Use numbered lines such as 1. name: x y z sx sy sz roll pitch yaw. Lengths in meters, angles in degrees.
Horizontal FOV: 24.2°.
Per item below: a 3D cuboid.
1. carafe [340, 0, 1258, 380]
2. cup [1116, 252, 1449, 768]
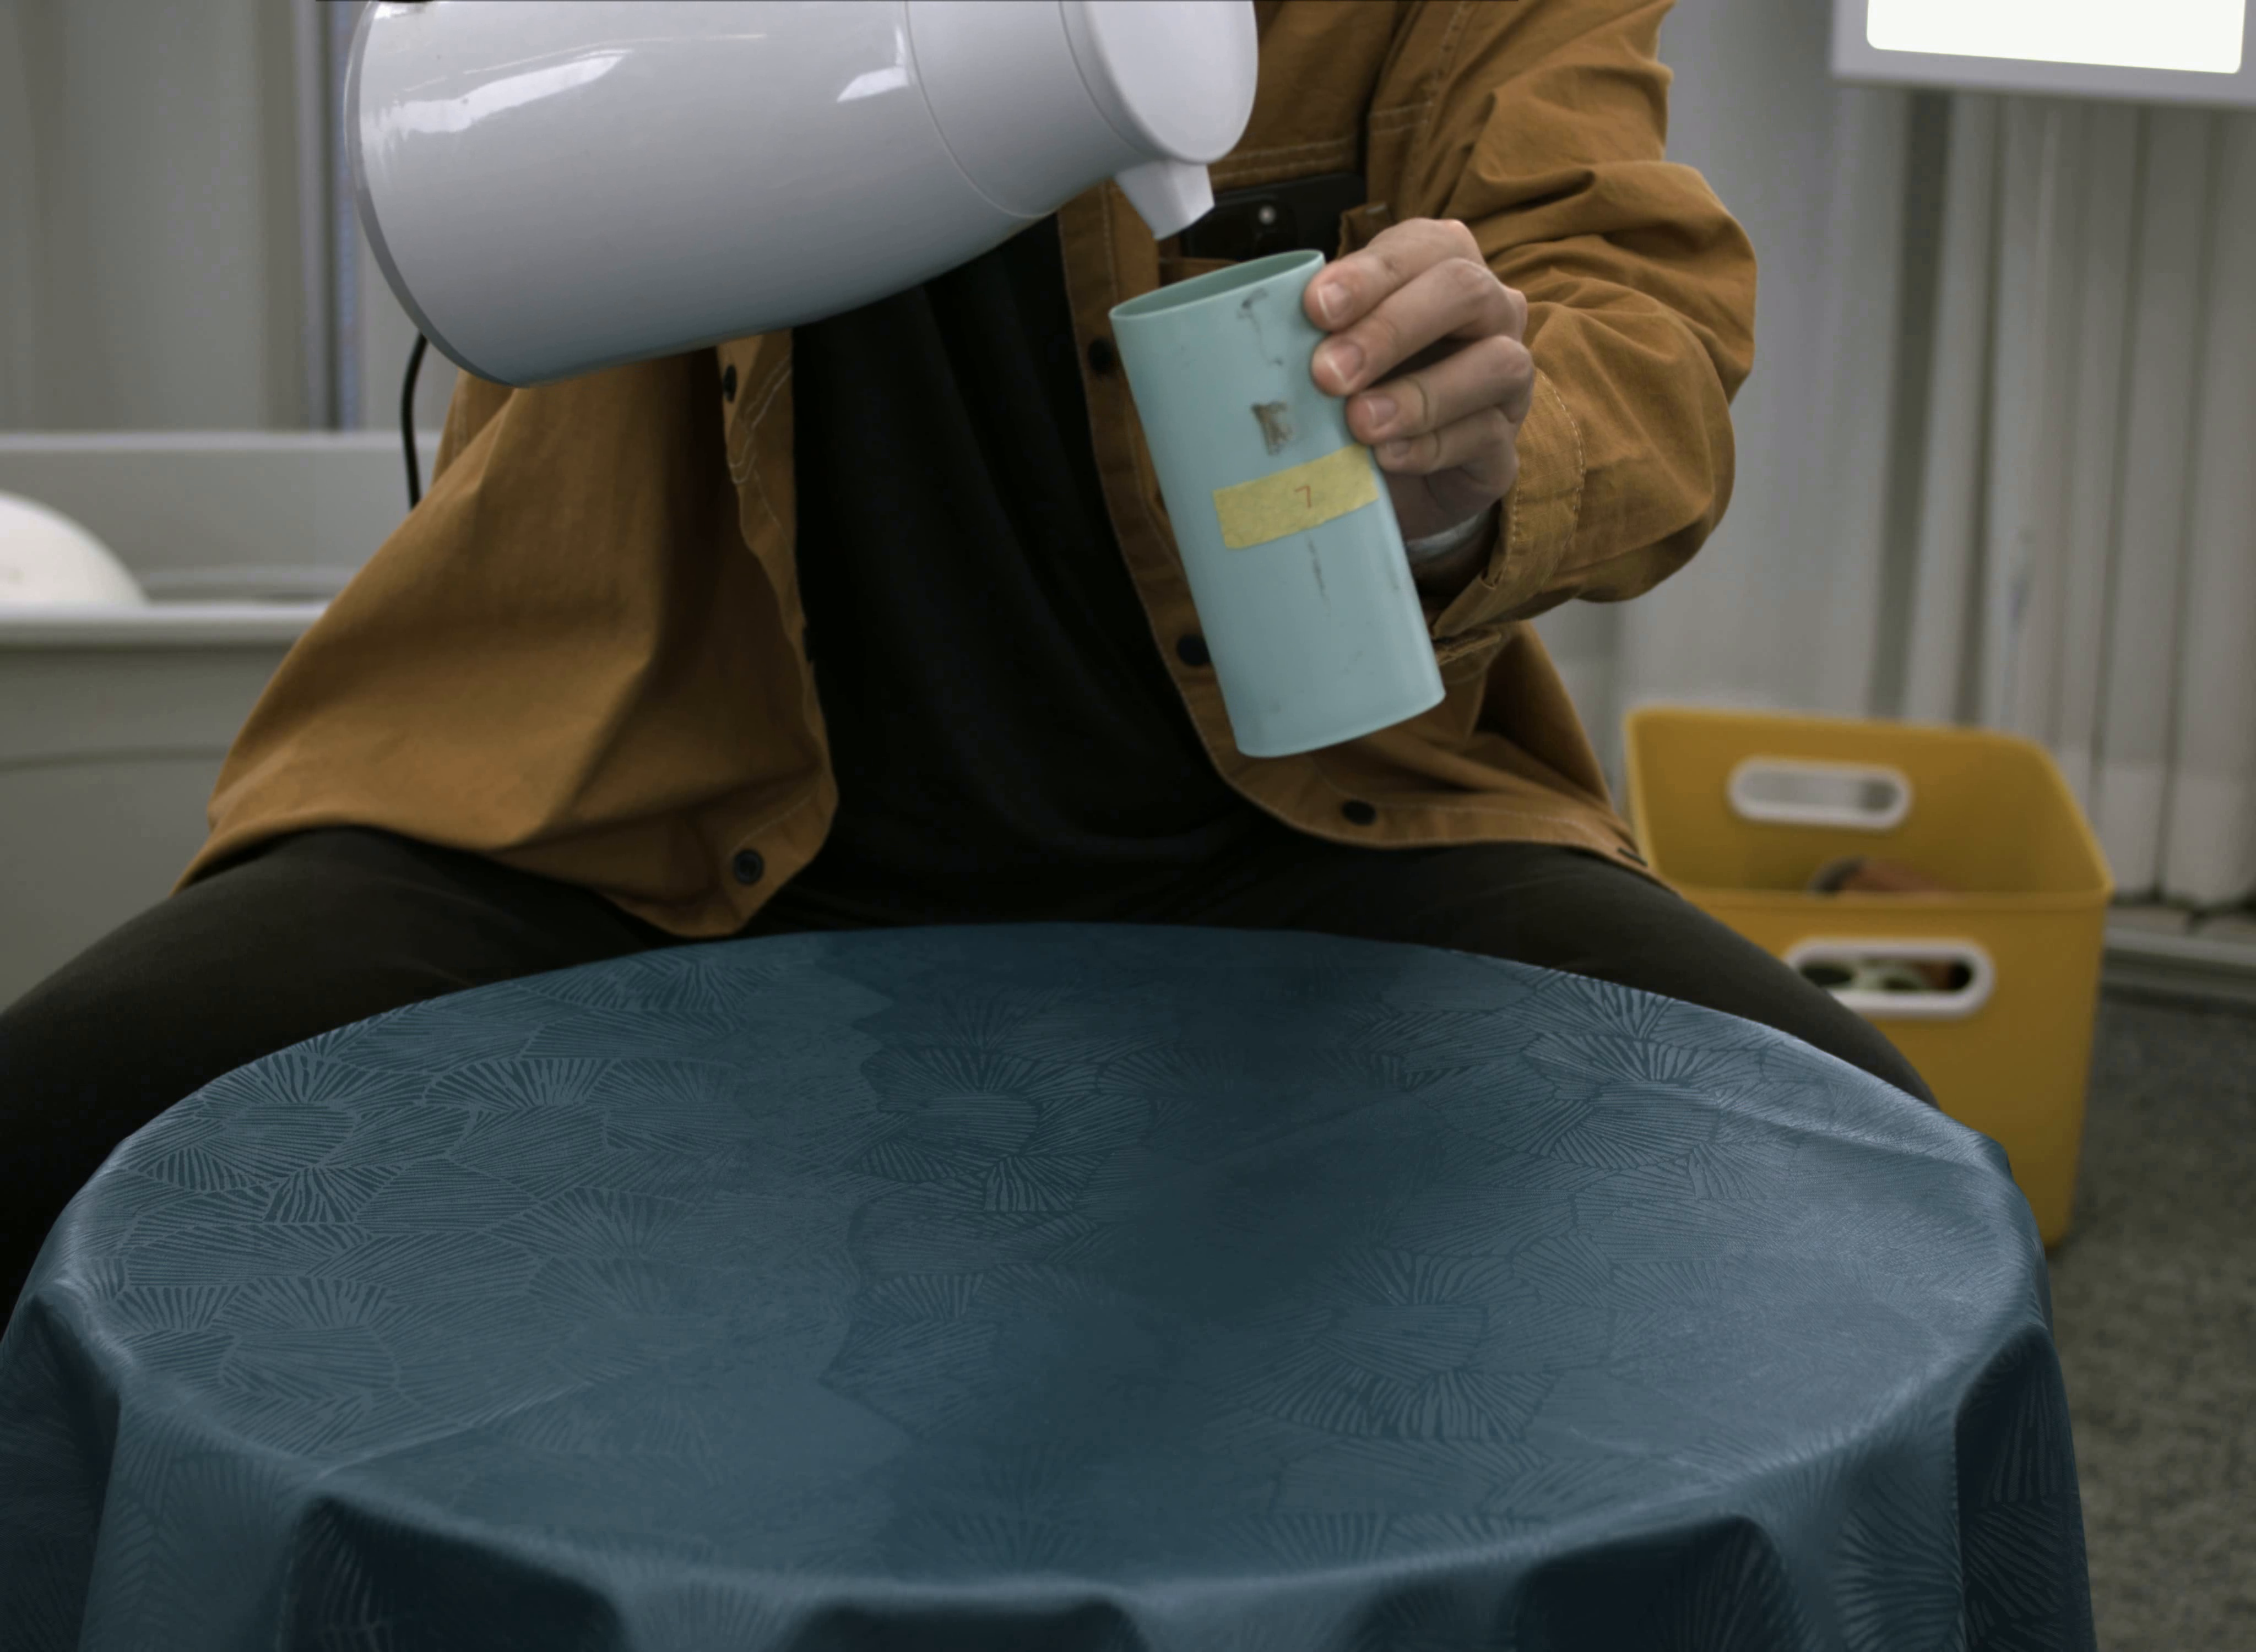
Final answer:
1. carafe: -0.093 -0.229 1.482 0.246 0.169 0.132 -9 22 31
2. cup: 0.044 -0.089 1.478 0.066 0.133 0.066 -15 13 4
